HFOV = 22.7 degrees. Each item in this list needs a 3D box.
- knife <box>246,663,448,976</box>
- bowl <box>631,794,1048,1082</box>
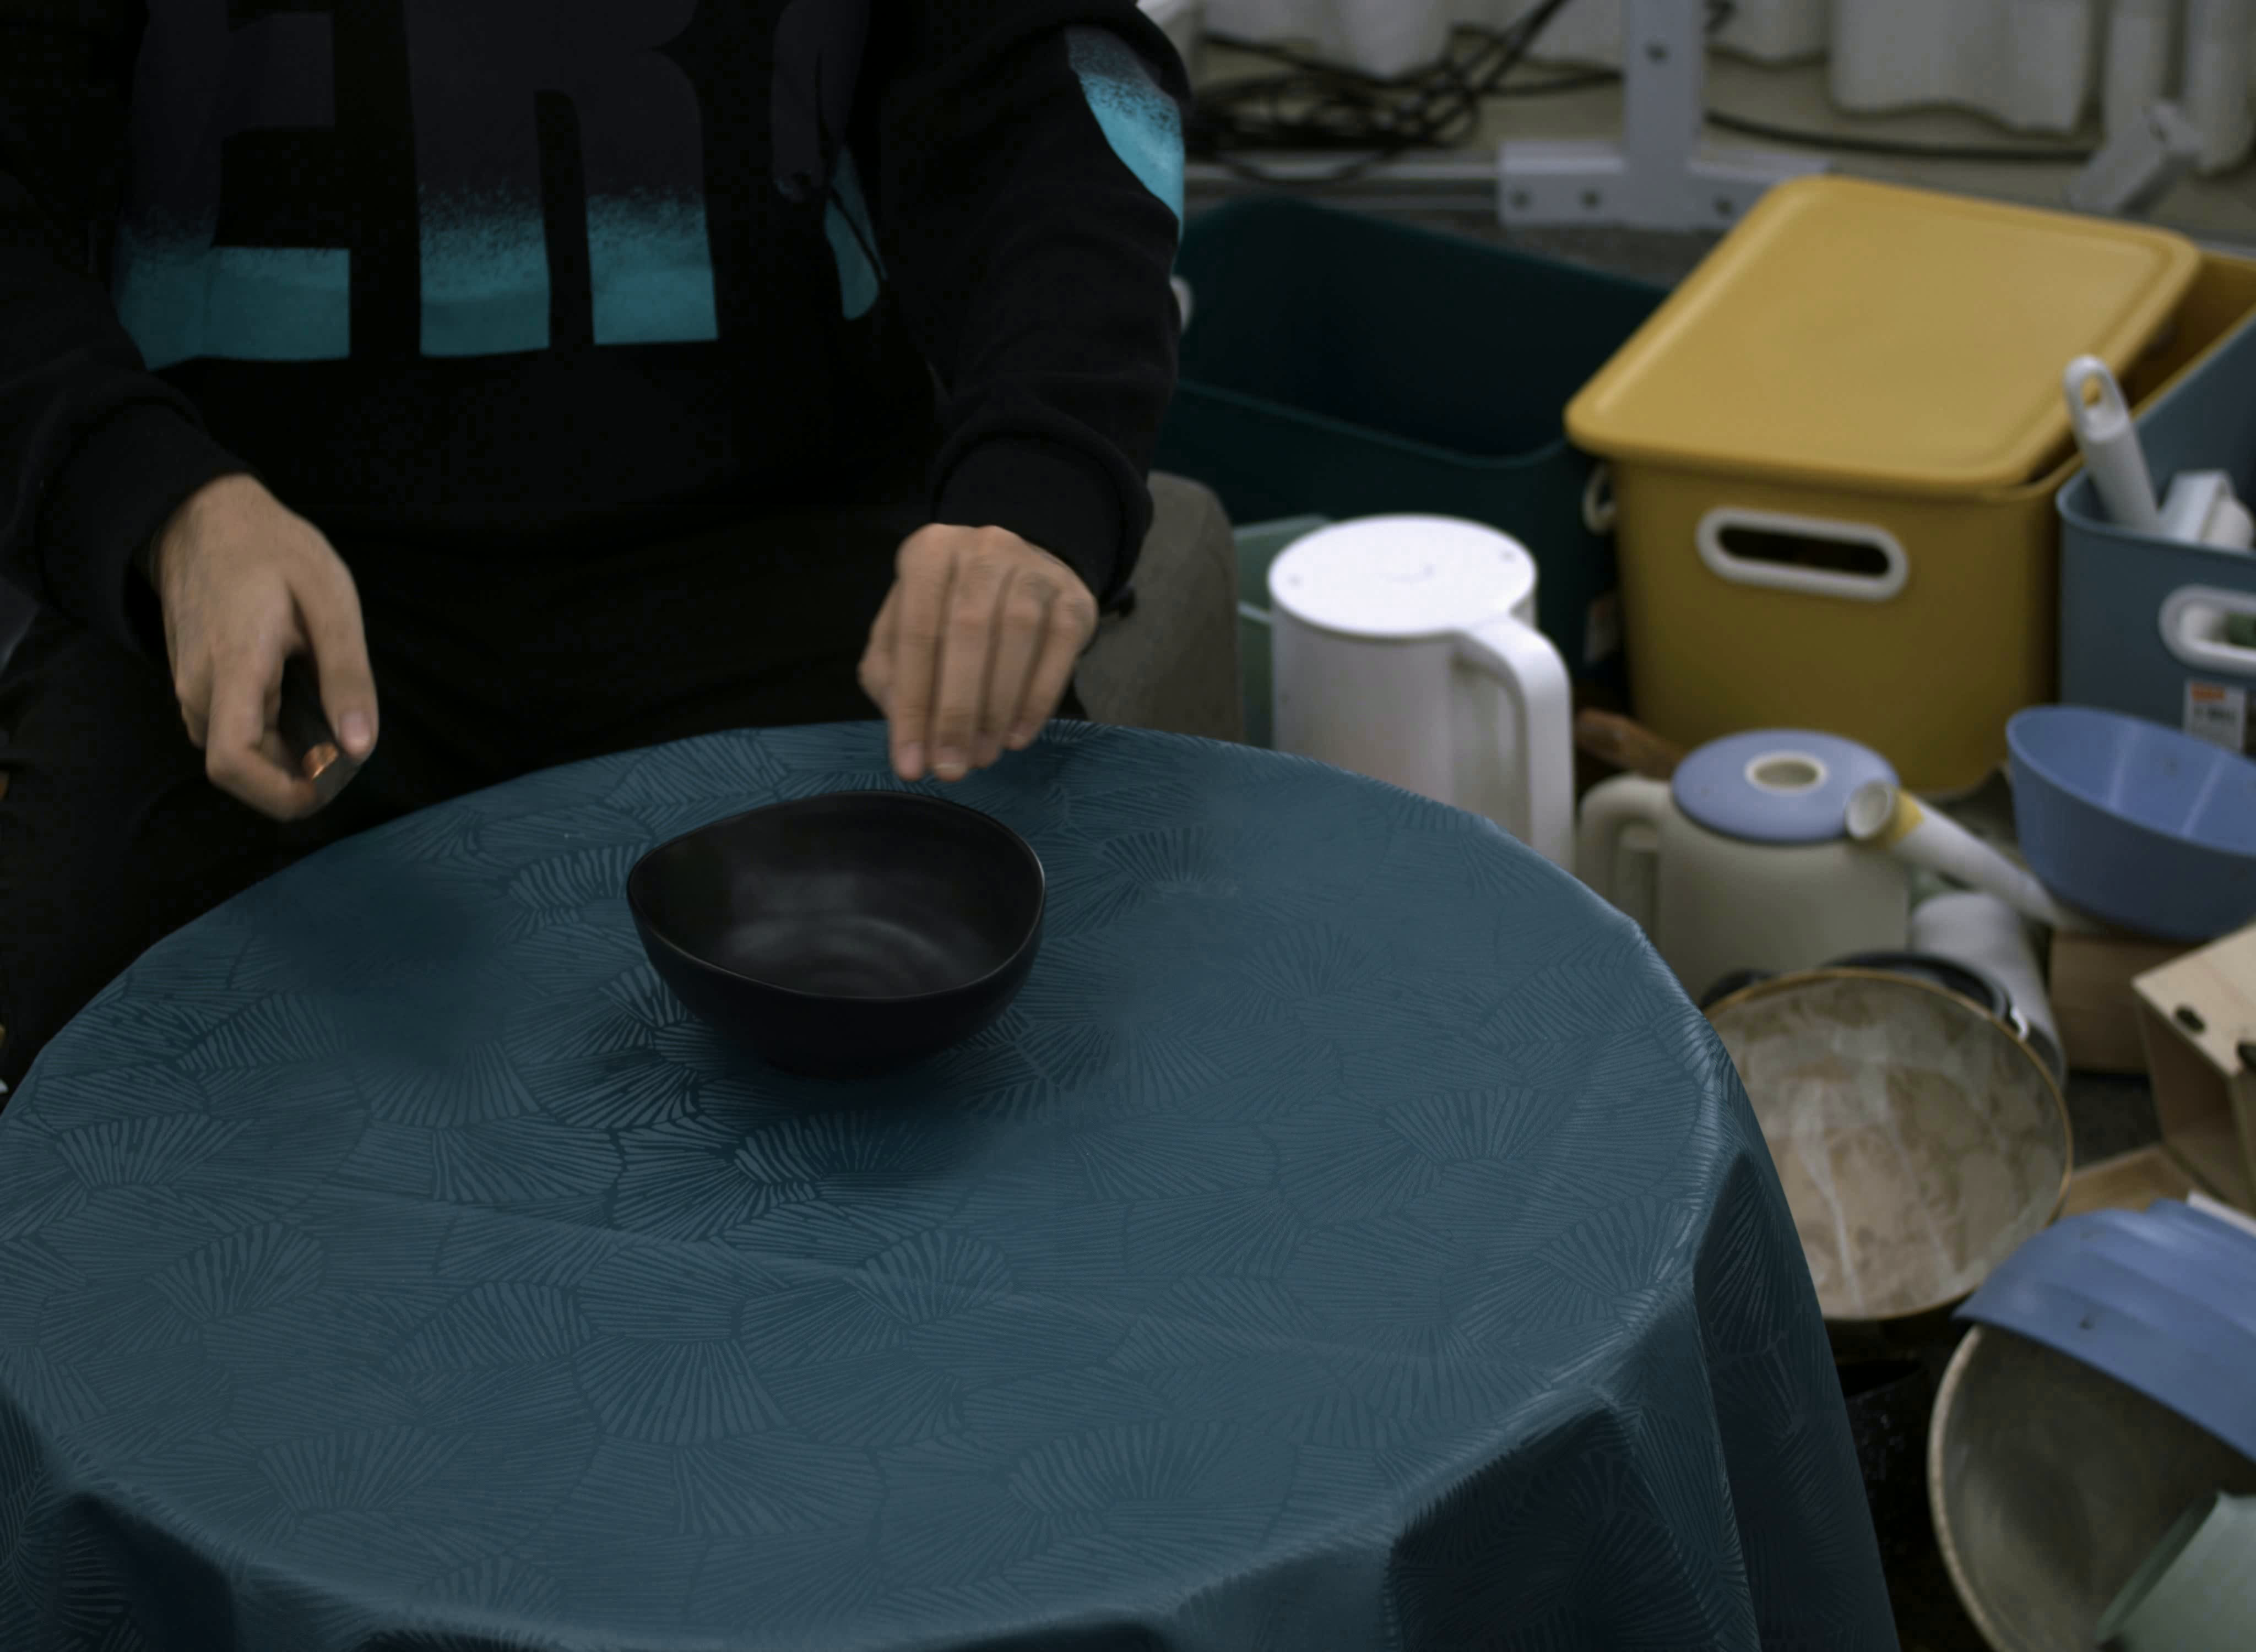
[{"bbox_3d":[-0.271,-0.004,1.943,0.017,0.026,0.227,-45,34,3],"label":"knife"},{"bbox_3d":[-0.100,0.046,1.948,0.138,0.066,0.170,-20,30,-30],"label":"bowl"}]
